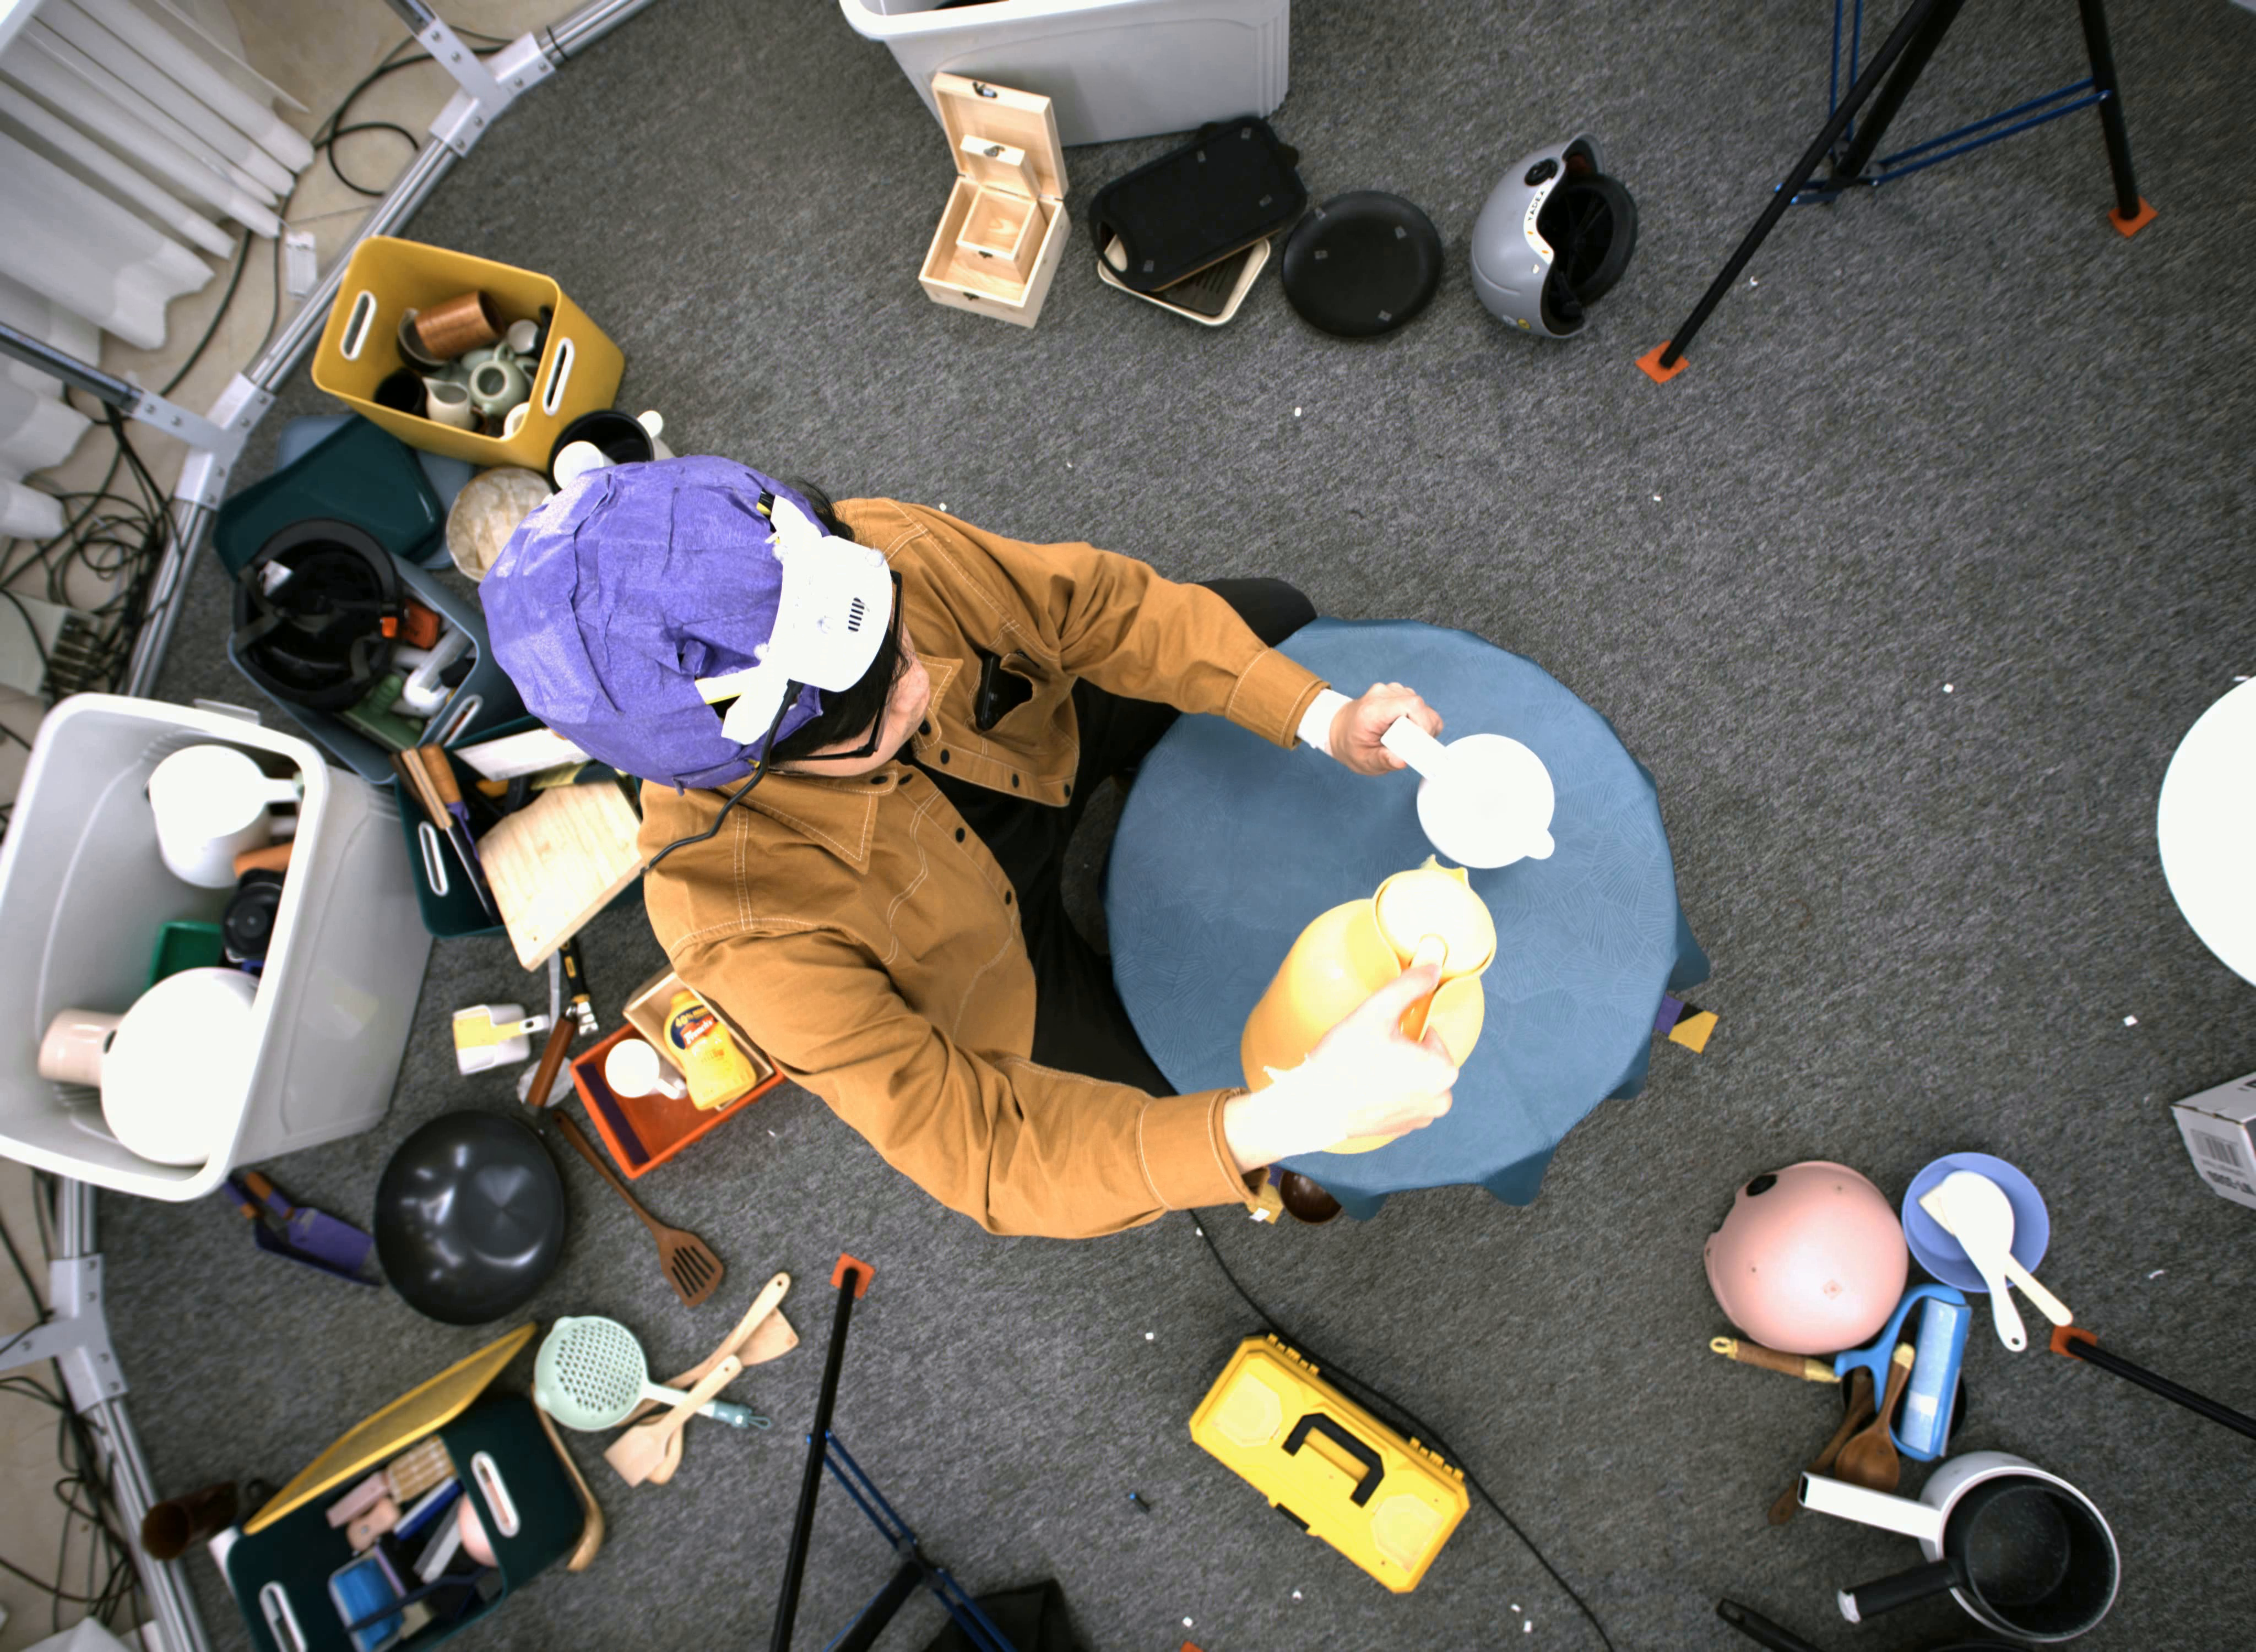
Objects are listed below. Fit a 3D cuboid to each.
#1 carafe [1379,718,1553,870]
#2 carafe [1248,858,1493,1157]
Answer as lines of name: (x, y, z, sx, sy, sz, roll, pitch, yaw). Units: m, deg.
carafe: (0.310, -0.034, 1.259, 0.172, 0.266, 0.125, 39, 103, 9)
carafe: (0.192, 0.156, 1.092, 0.163, 0.267, 0.197, 23, 51, 6)
